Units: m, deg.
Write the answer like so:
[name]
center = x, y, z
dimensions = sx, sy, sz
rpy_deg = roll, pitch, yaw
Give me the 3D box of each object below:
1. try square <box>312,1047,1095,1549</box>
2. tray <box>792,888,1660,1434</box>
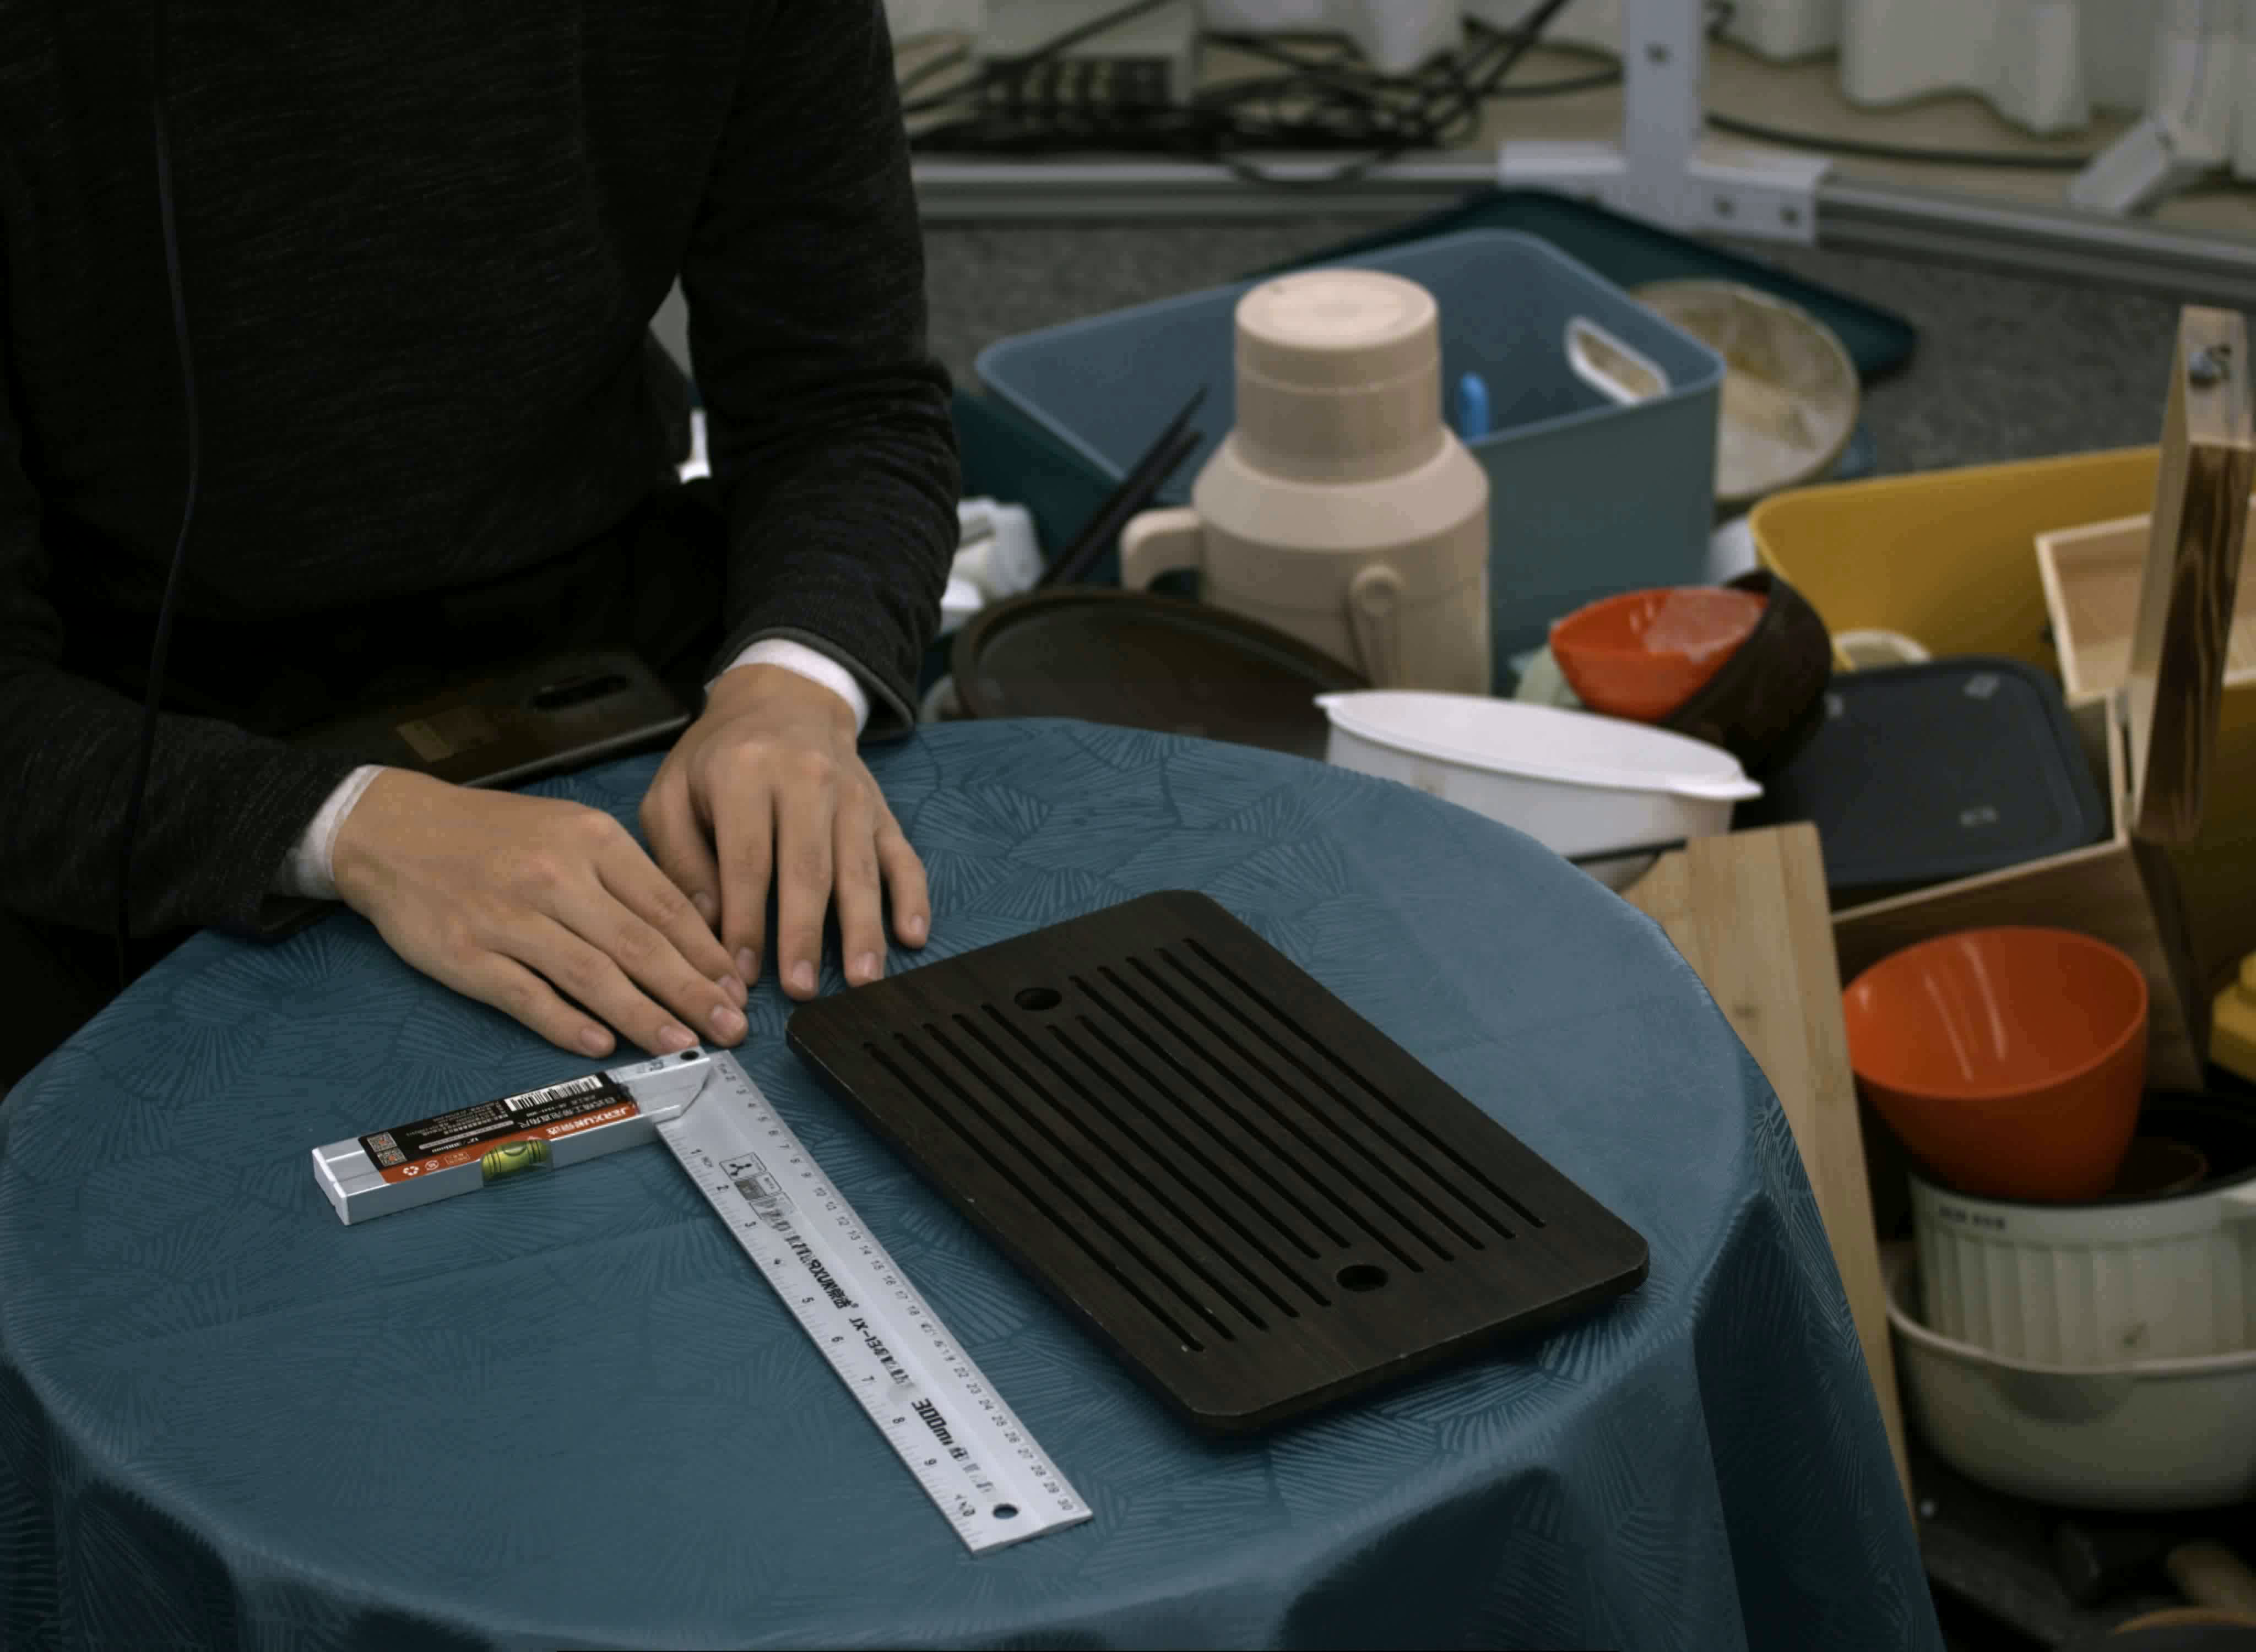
[try square]
center = -0.143, 0.160, 1.792
dimensions = 0.153, 0.016, 0.315
rpy_deg = -14, 30, -21
[tray]
center = 0.026, 0.107, 1.866
dimensions = 0.171, 0.018, 0.307
rpy_deg = -17, 30, -24
